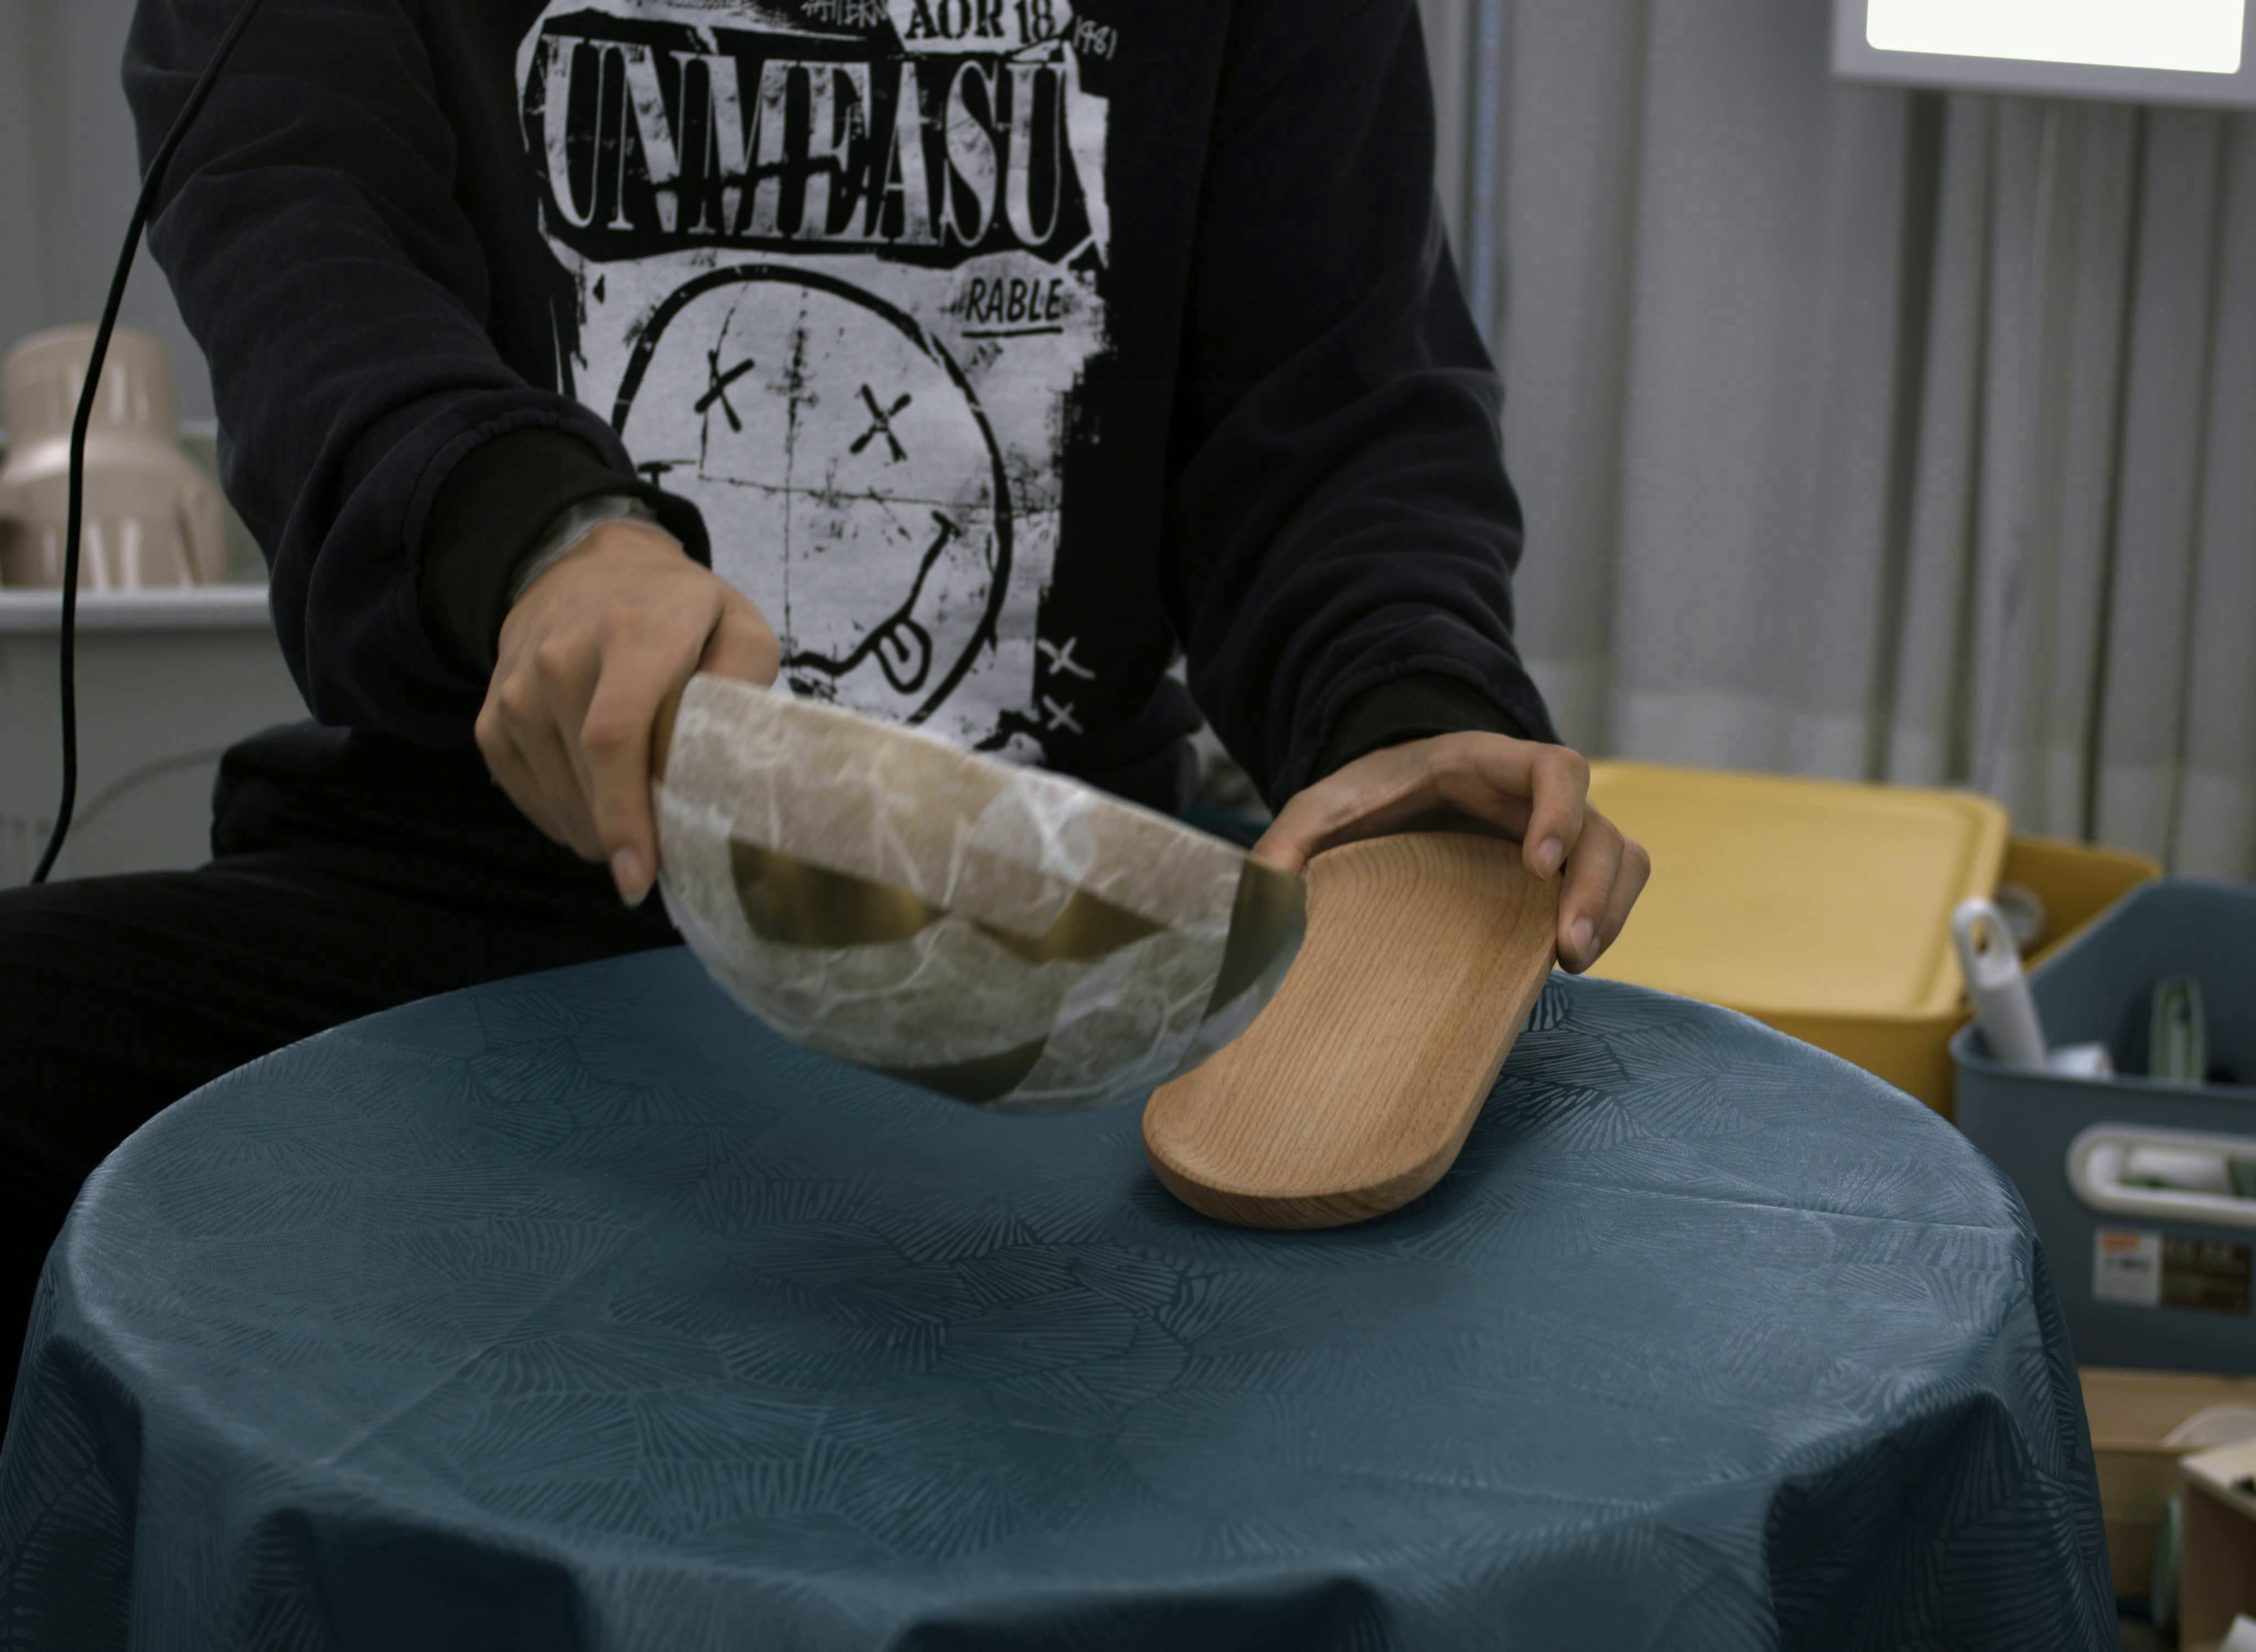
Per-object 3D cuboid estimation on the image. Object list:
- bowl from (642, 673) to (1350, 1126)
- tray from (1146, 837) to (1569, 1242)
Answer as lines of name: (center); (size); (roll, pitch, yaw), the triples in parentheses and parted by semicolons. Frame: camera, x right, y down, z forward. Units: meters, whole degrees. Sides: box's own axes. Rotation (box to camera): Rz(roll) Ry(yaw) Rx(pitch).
bowl: (-0.050, 0.033, 1.513); (0.214, 0.095, 0.215); (17, -4, 2)
tray: (0.076, 0.065, 1.679); (0.101, 0.020, 0.230); (3, 31, 18)
